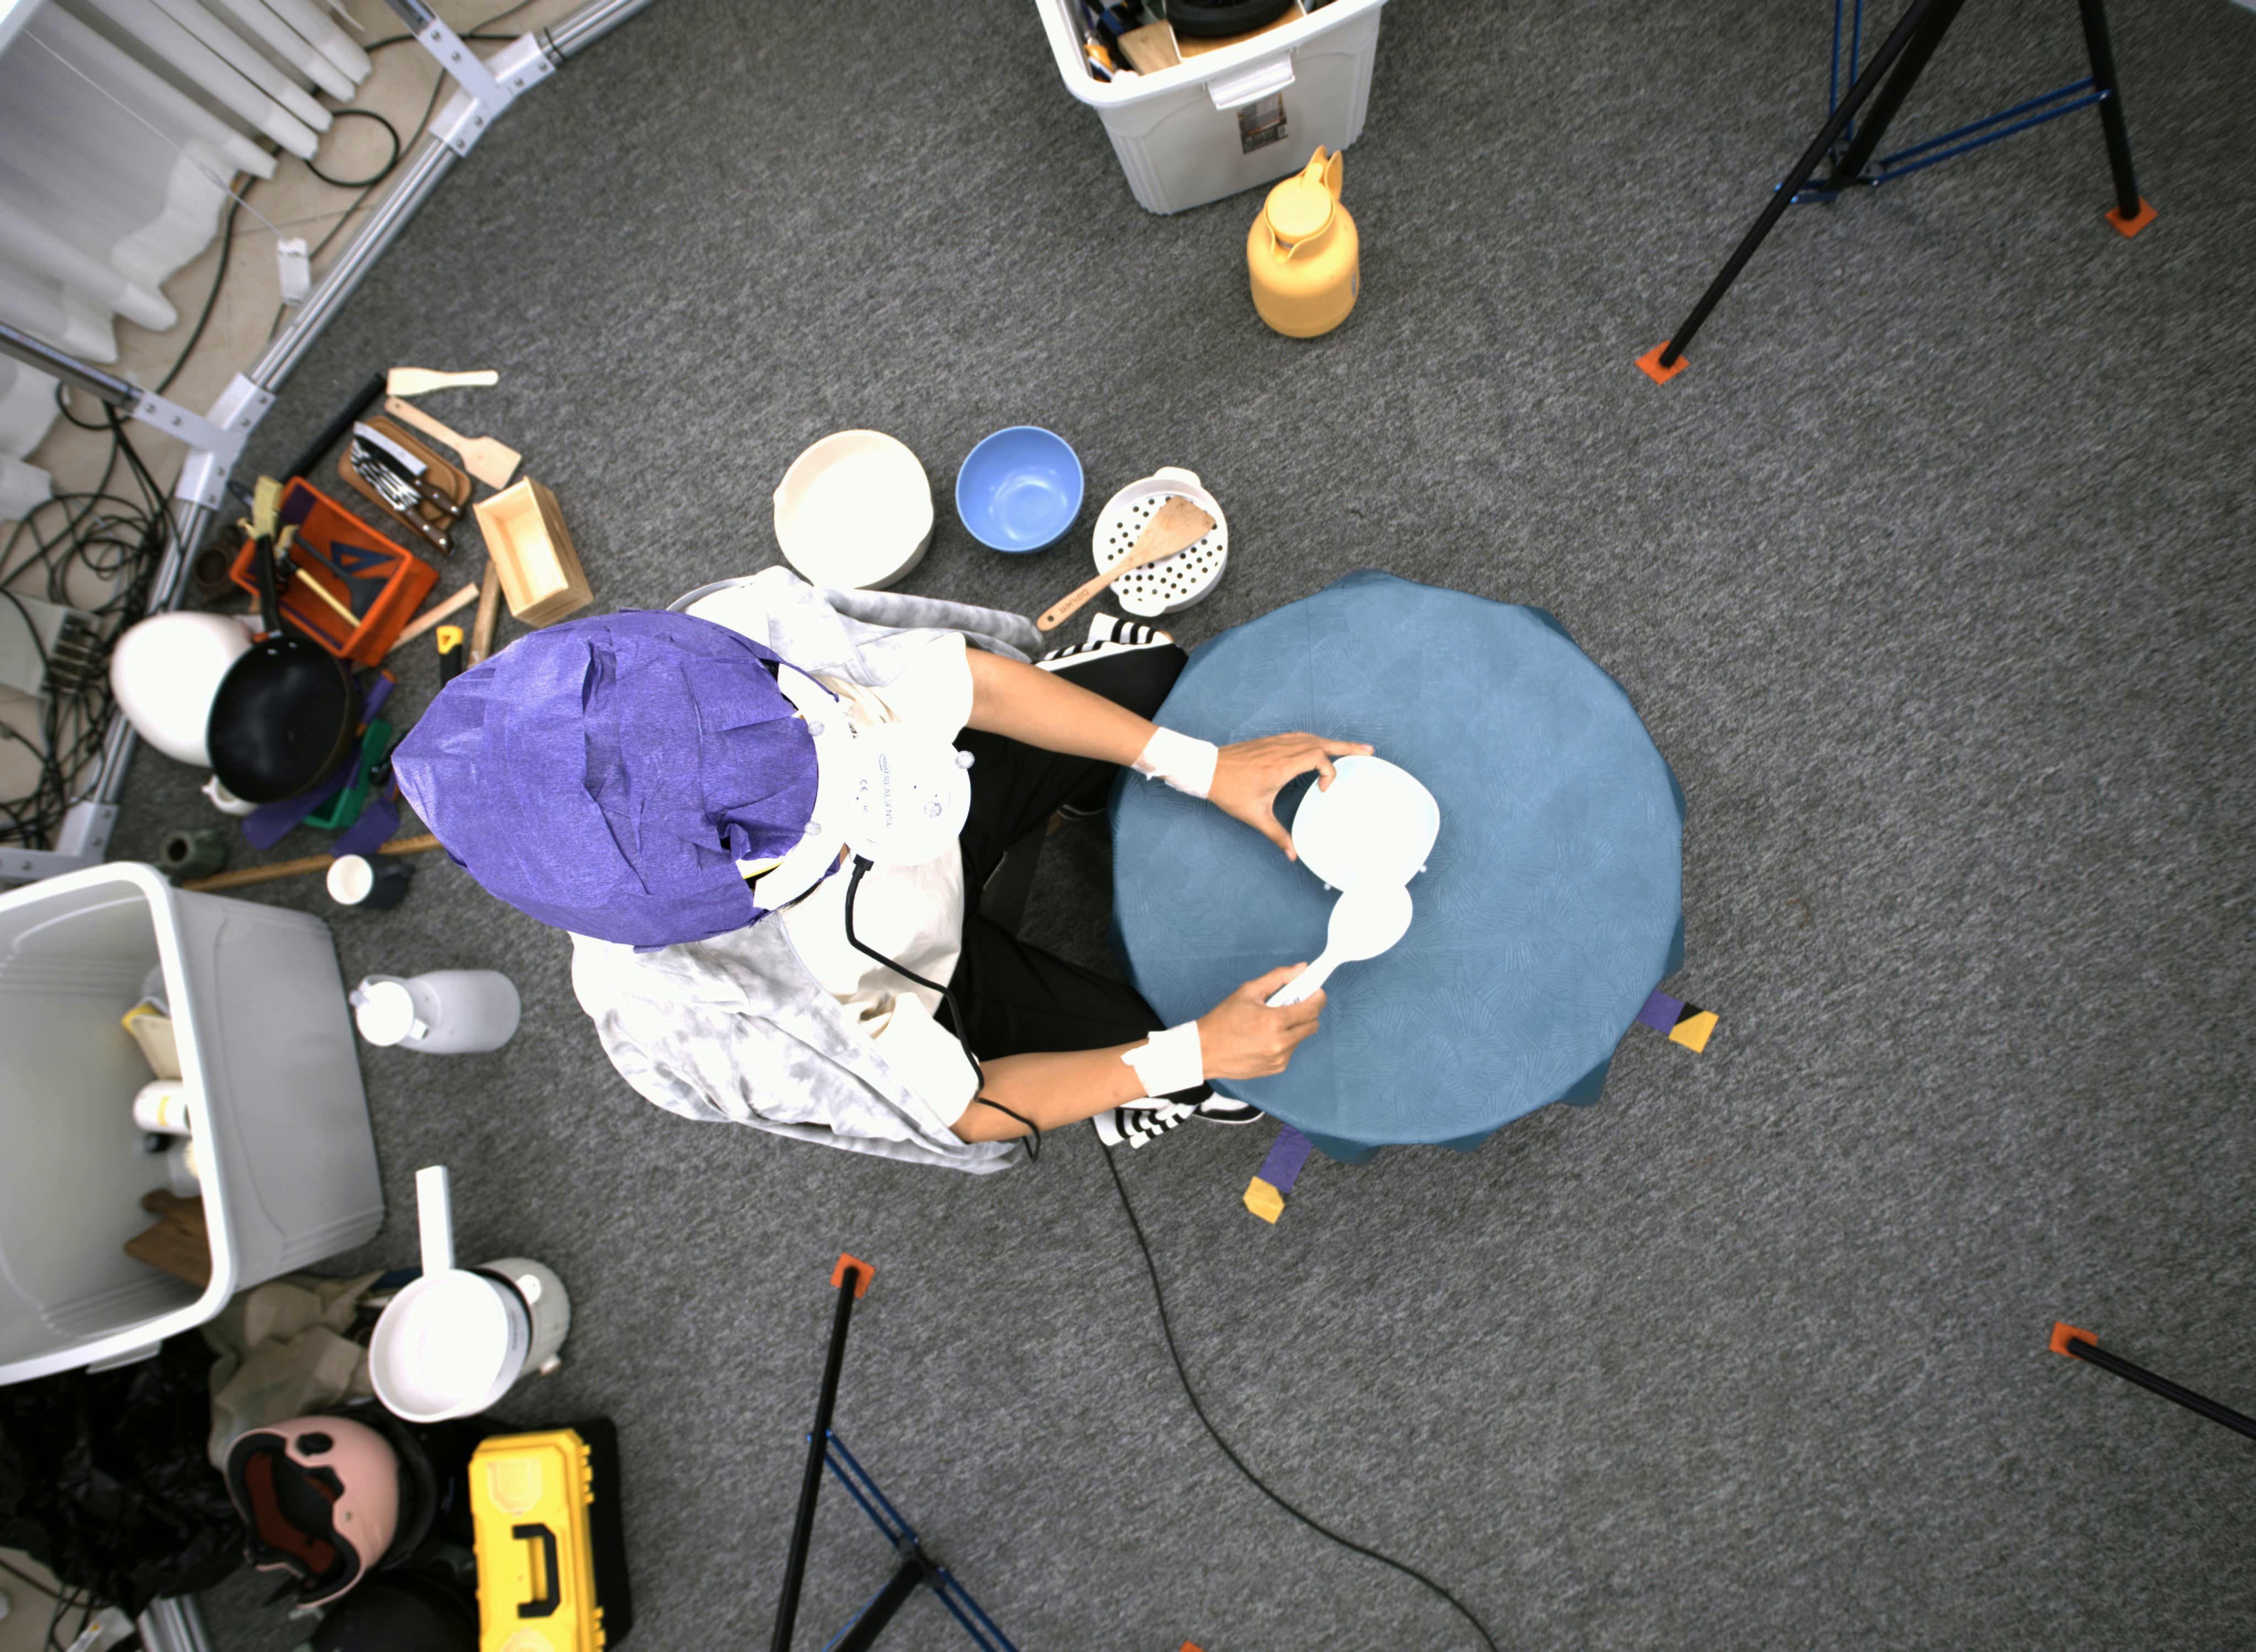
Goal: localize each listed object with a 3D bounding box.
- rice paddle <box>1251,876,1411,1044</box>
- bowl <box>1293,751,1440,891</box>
[{"bbox_3d":[0.201,0.128,1.360,0.069,0.029,0.204,45,85,1],"label":"rice paddle"},{"bbox_3d":[0.248,-0.002,1.438,0.152,0.058,0.151,0,89,9],"label":"bowl"}]
